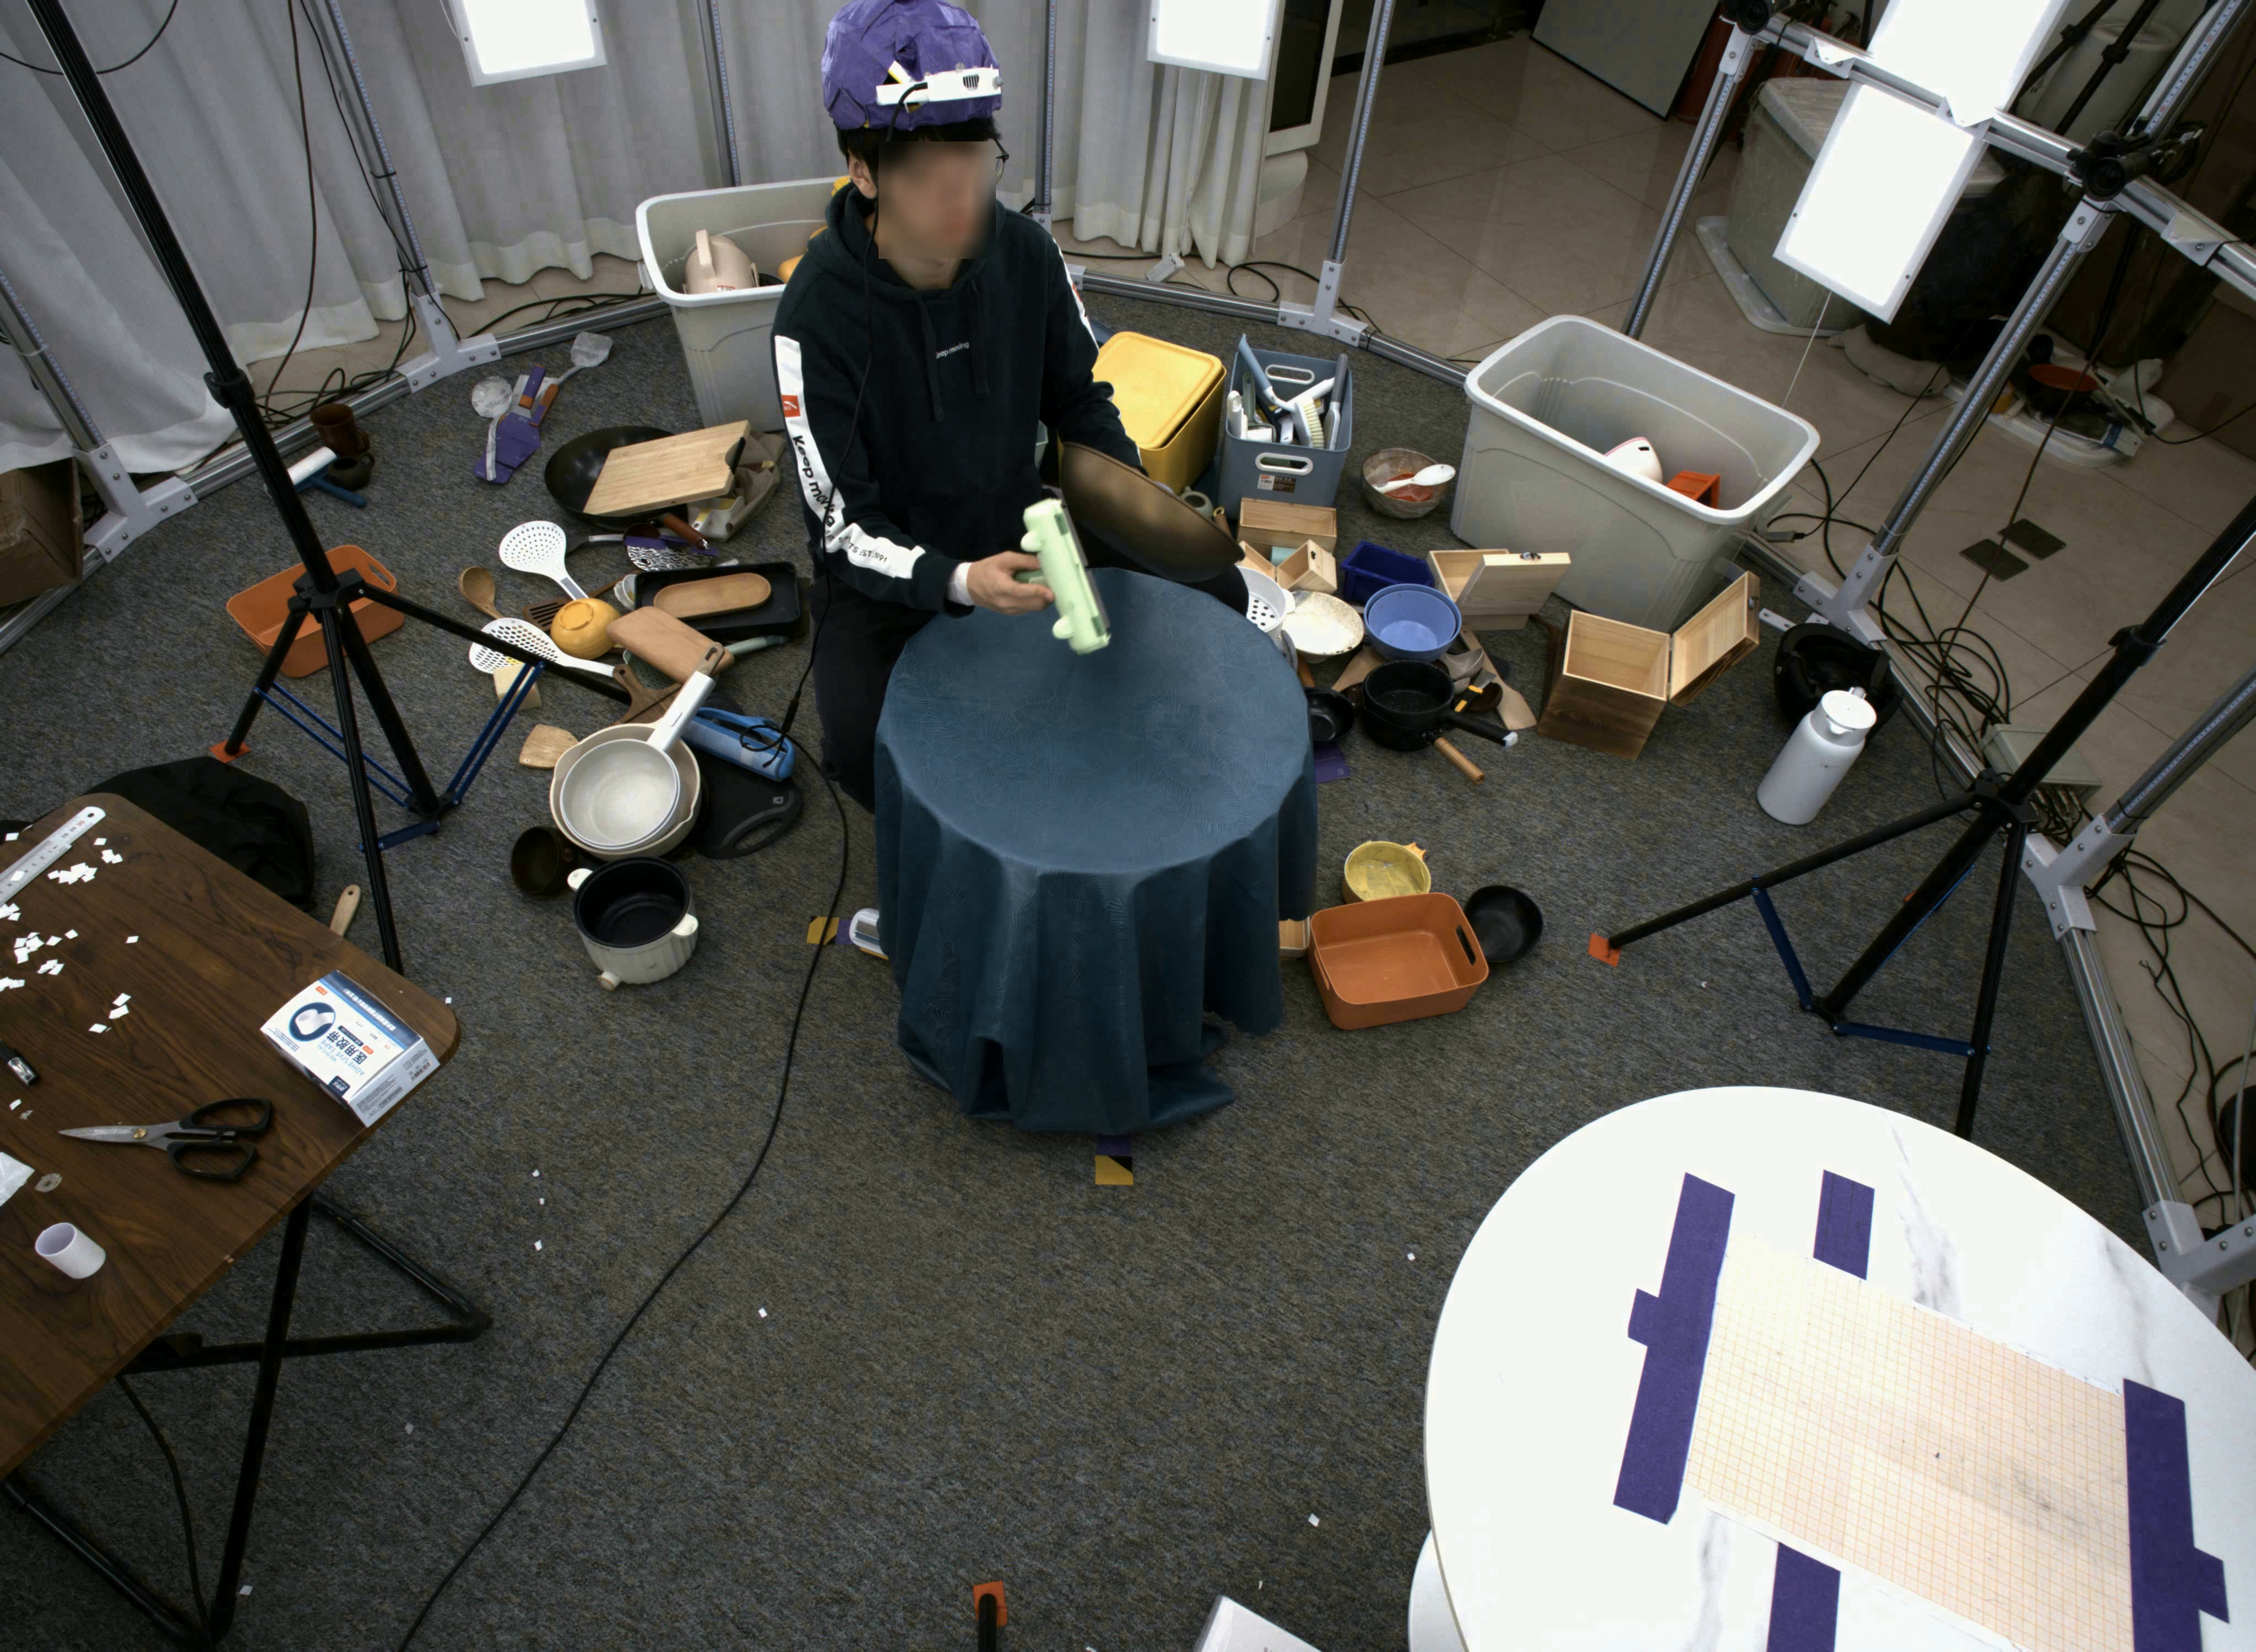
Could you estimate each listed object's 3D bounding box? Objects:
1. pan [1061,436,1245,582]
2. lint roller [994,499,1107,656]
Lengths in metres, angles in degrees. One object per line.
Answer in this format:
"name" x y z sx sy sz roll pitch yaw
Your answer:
"pan" 0.007 -0.422 1.812 0.286 0.086 0.467 31 5 -11
"lint roller" -0.127 -0.310 1.666 0.184 0.196 0.083 -4 24 42
